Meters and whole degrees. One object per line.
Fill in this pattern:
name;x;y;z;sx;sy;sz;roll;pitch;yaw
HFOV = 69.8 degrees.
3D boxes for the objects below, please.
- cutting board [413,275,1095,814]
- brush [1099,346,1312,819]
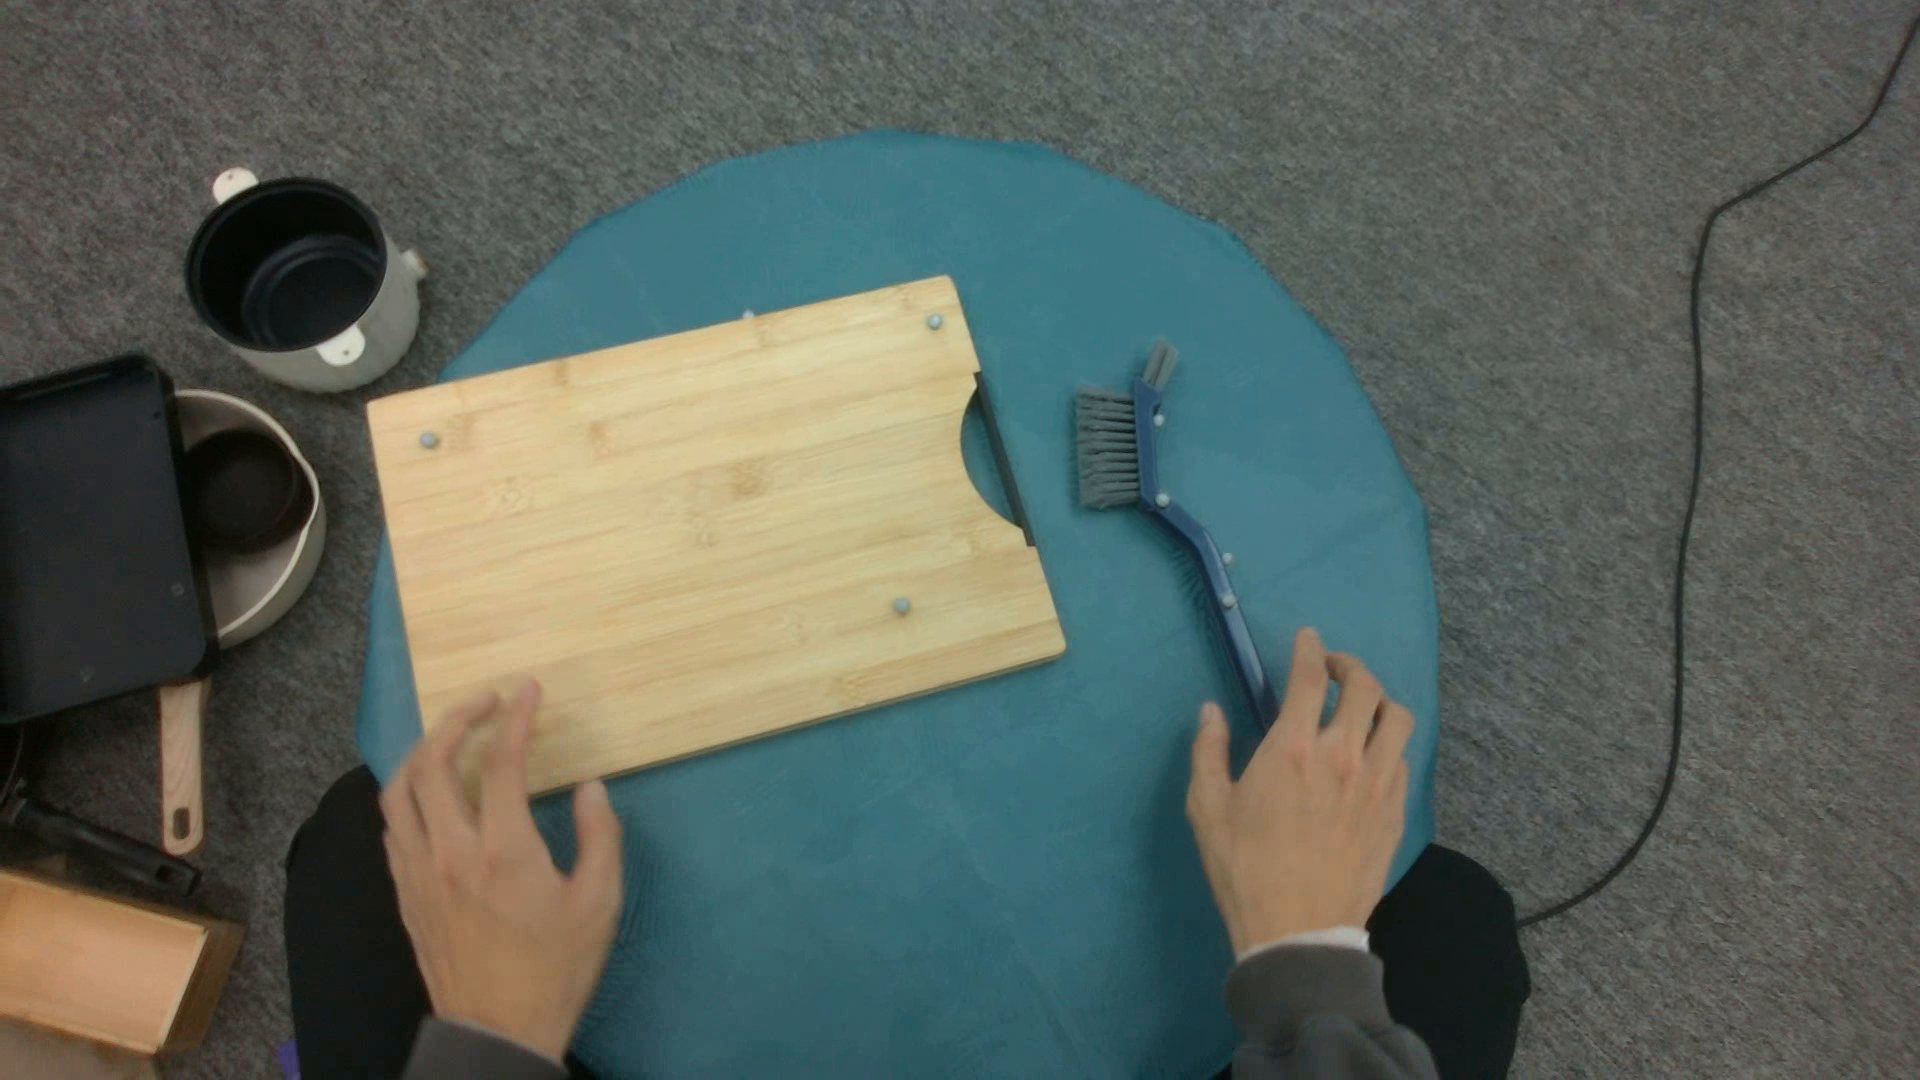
cutting board;-0.123;-0.006;0.787;0.349;0.023;0.251;-15;75;-7
brush;0.155;0.020;0.784;0.096;0.033;0.273;-23;74;-9
